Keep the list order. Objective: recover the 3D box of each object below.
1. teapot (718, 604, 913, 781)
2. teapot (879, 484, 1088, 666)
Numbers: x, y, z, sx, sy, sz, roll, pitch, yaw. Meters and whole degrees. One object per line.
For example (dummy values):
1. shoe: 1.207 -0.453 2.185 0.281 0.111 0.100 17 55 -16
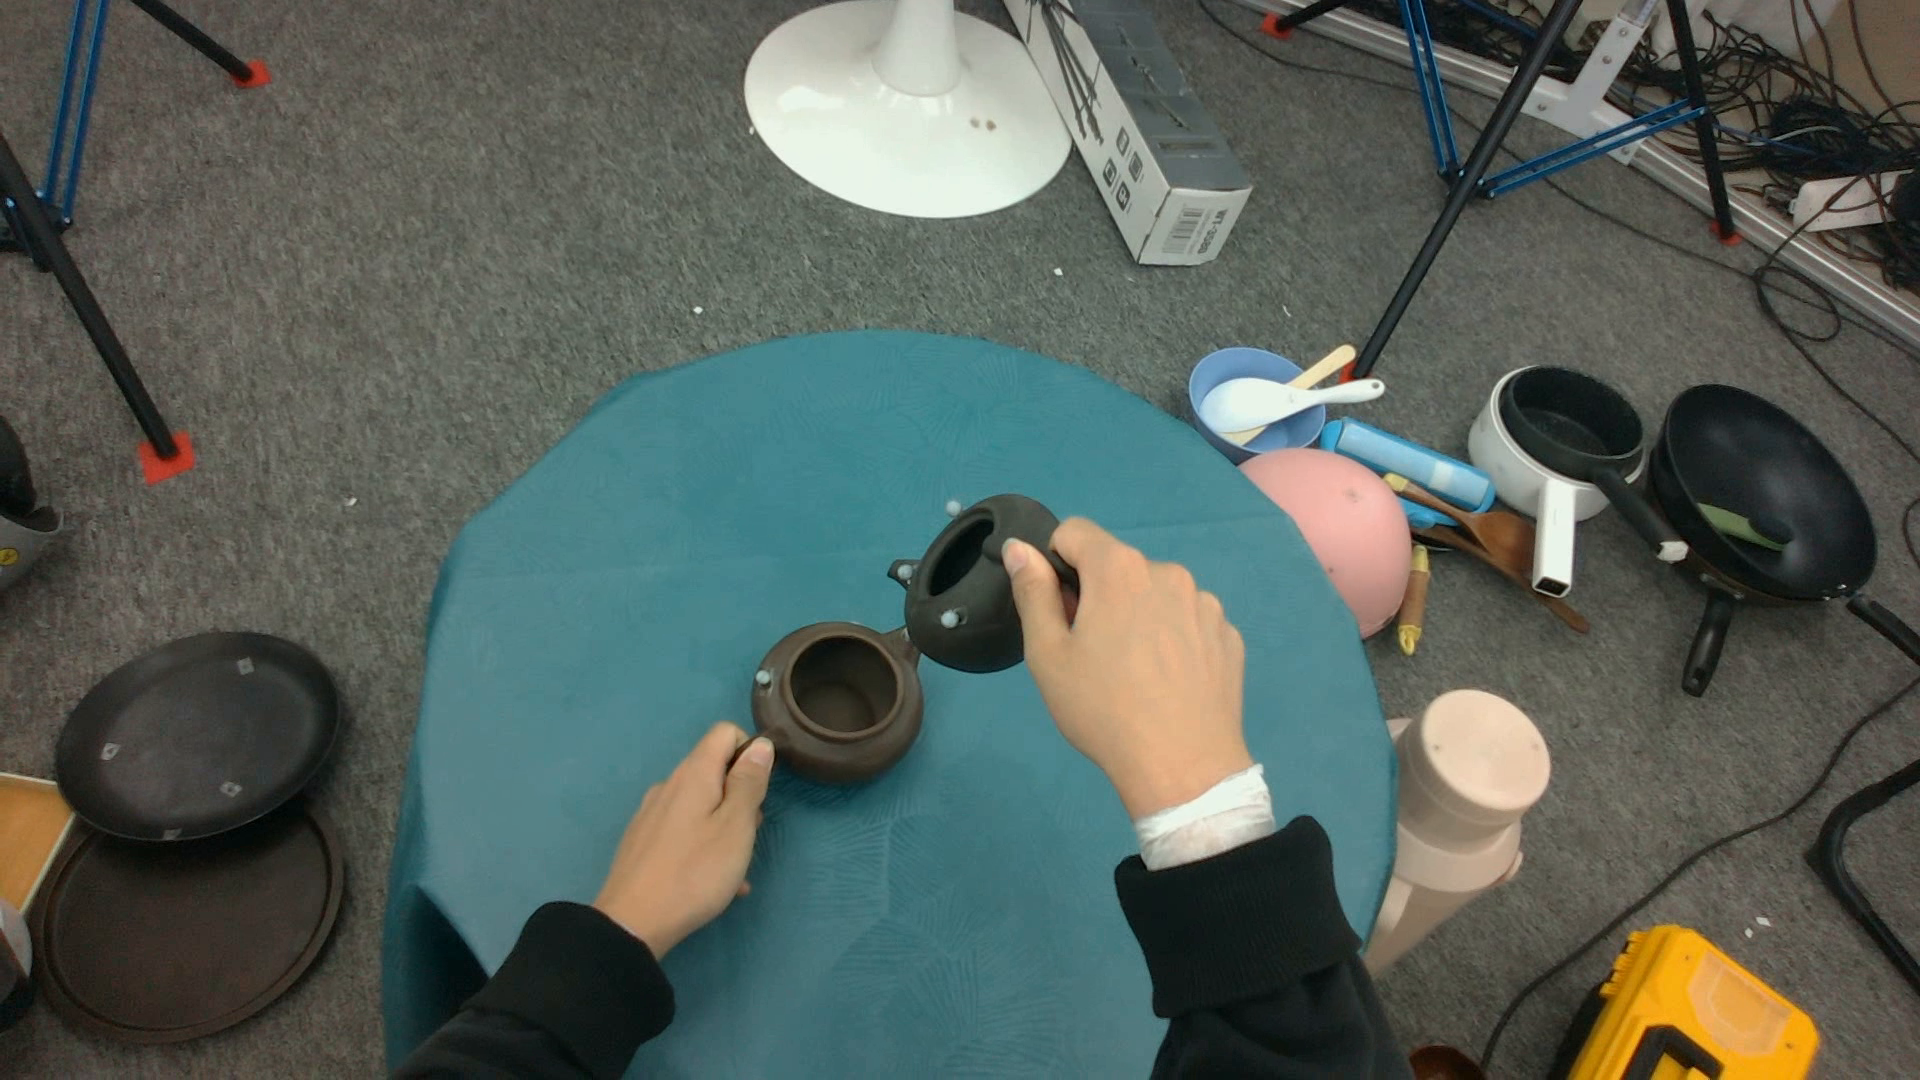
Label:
1. teapot: -0.081 0.090 0.804 0.102 0.053 0.154 39 53 15
2. teapot: 0.011 0.018 0.669 0.064 0.154 0.092 37 69 -23
